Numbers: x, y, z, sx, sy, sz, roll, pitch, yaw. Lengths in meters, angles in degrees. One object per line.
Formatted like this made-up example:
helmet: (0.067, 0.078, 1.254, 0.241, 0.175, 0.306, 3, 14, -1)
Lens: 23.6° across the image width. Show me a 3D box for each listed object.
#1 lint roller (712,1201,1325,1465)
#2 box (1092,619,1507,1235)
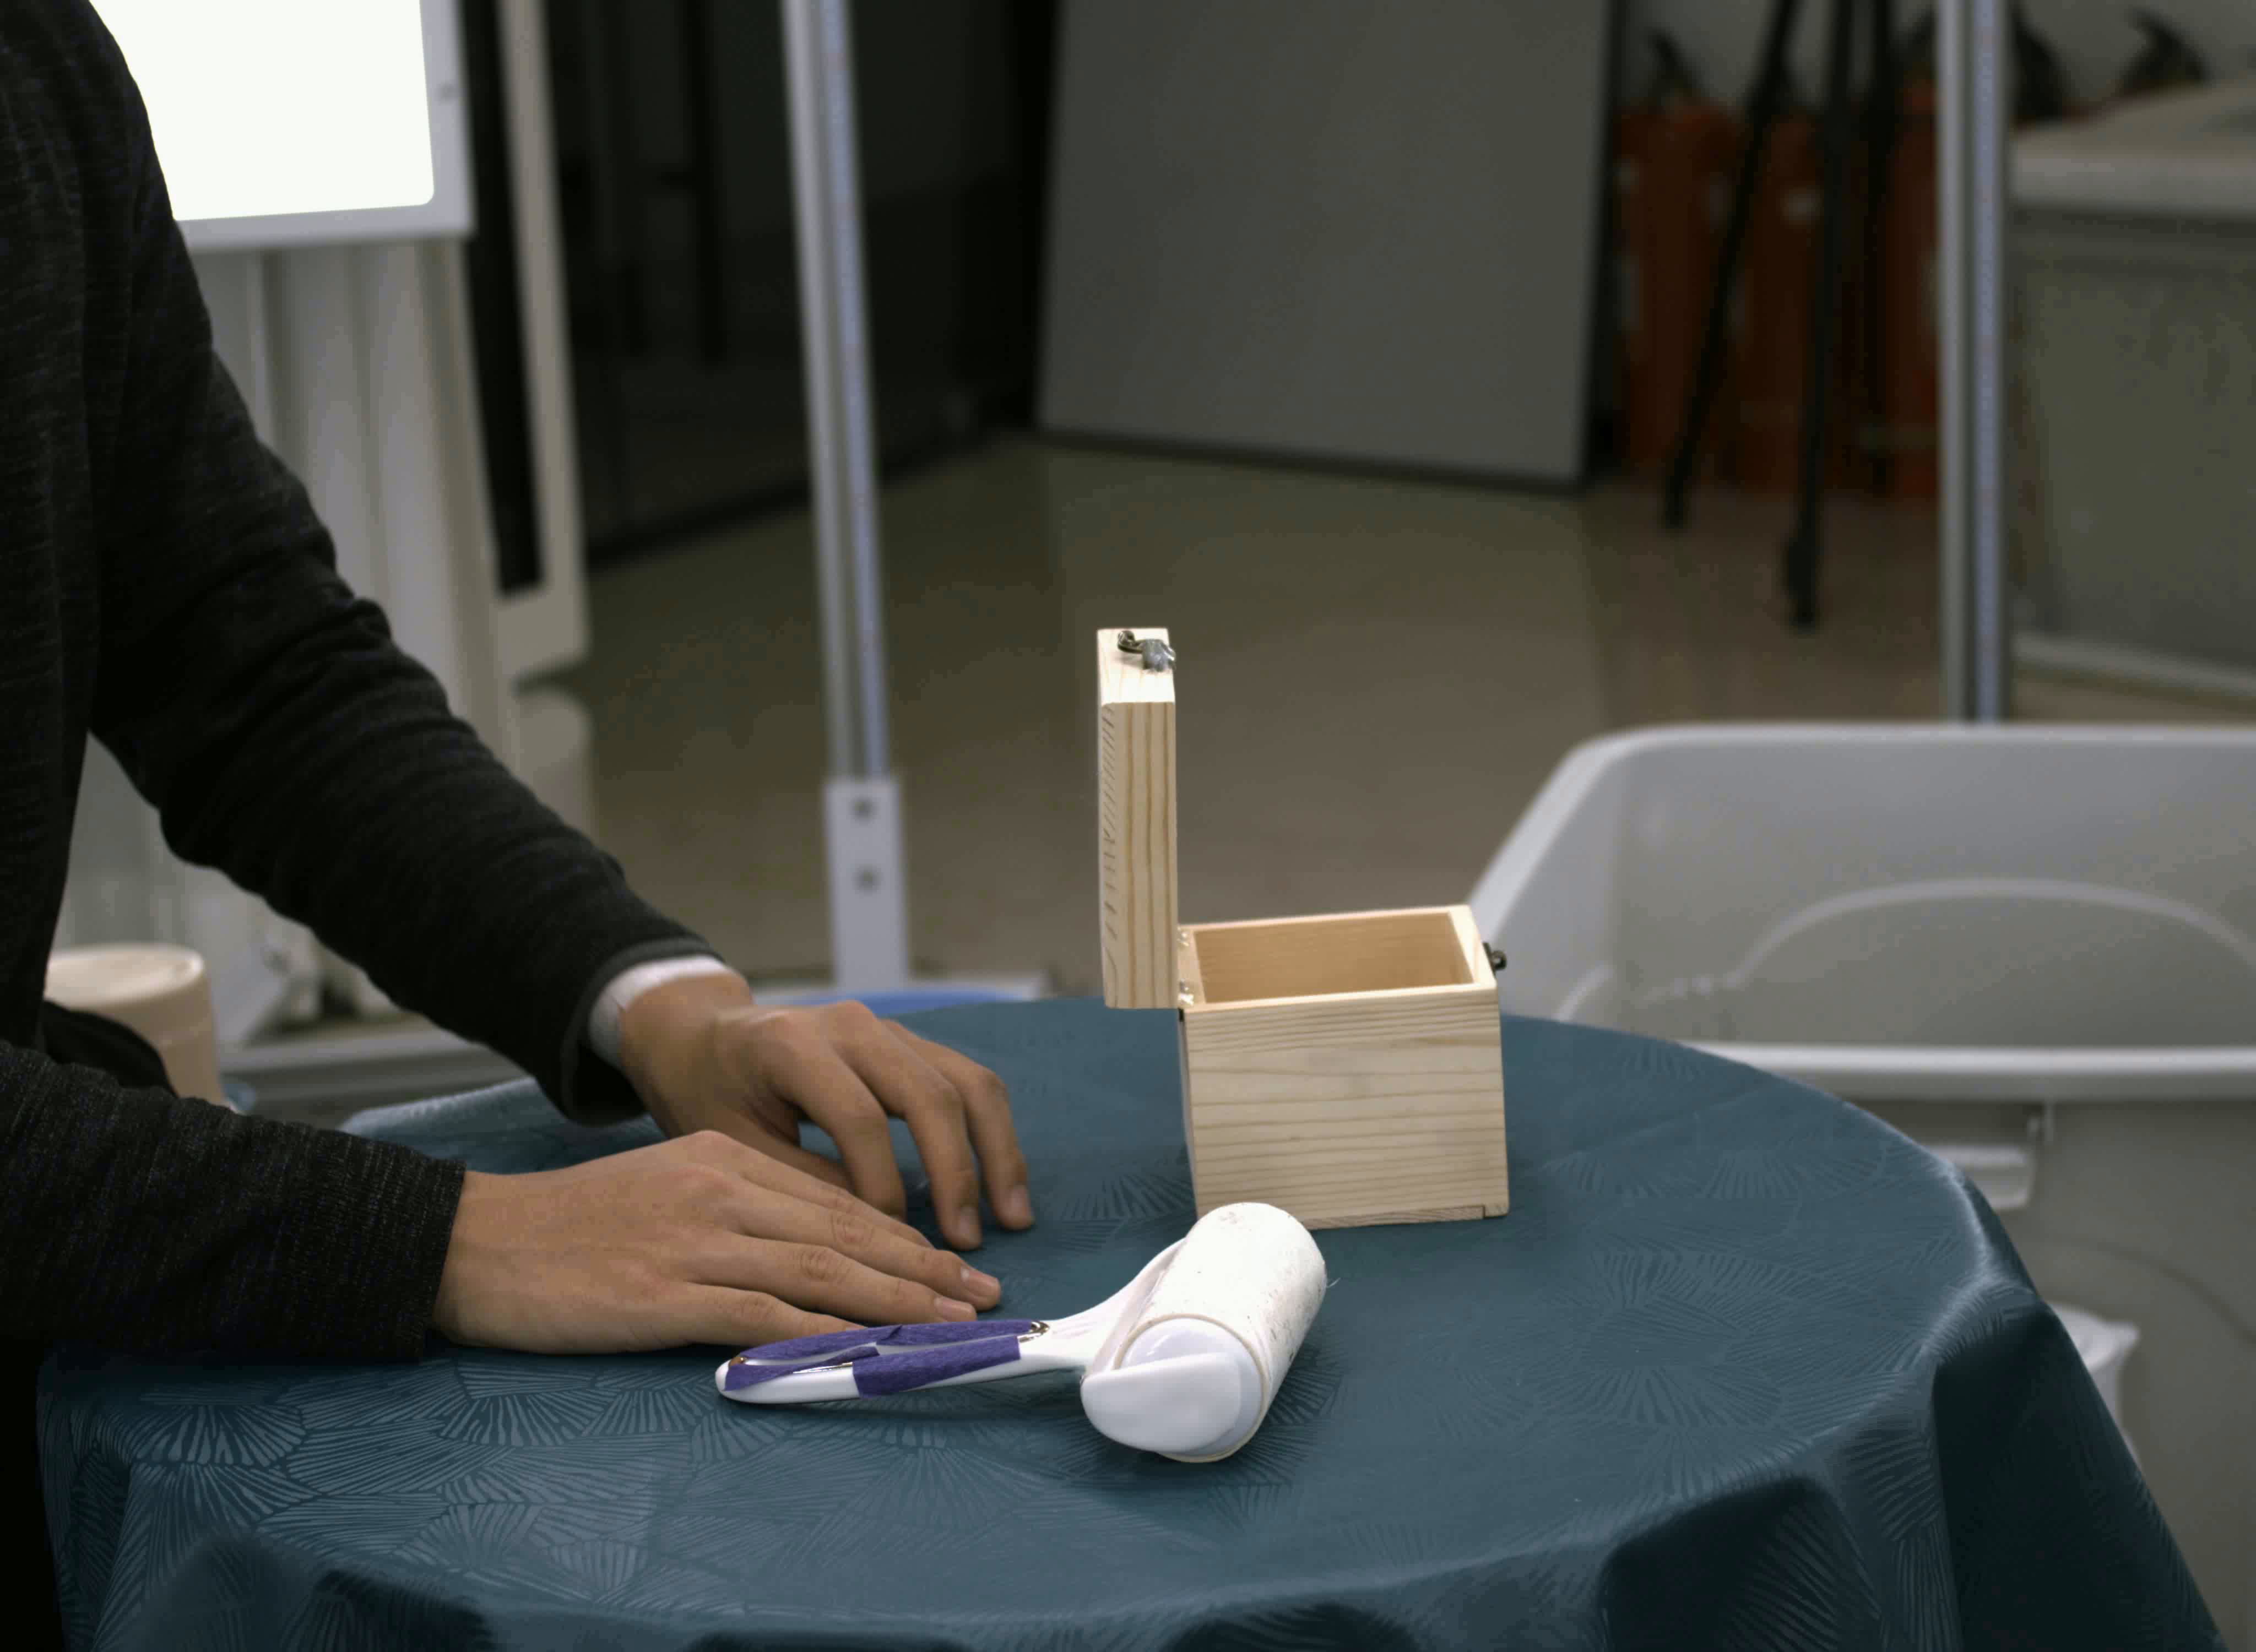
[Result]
lint roller: (-0.036, 0.145, 1.581, 0.180, 0.051, 0.132, 1, 16, 15)
box: (0.056, 0.028, 1.745, 0.132, 0.186, 0.103, -4, 13, 1)
